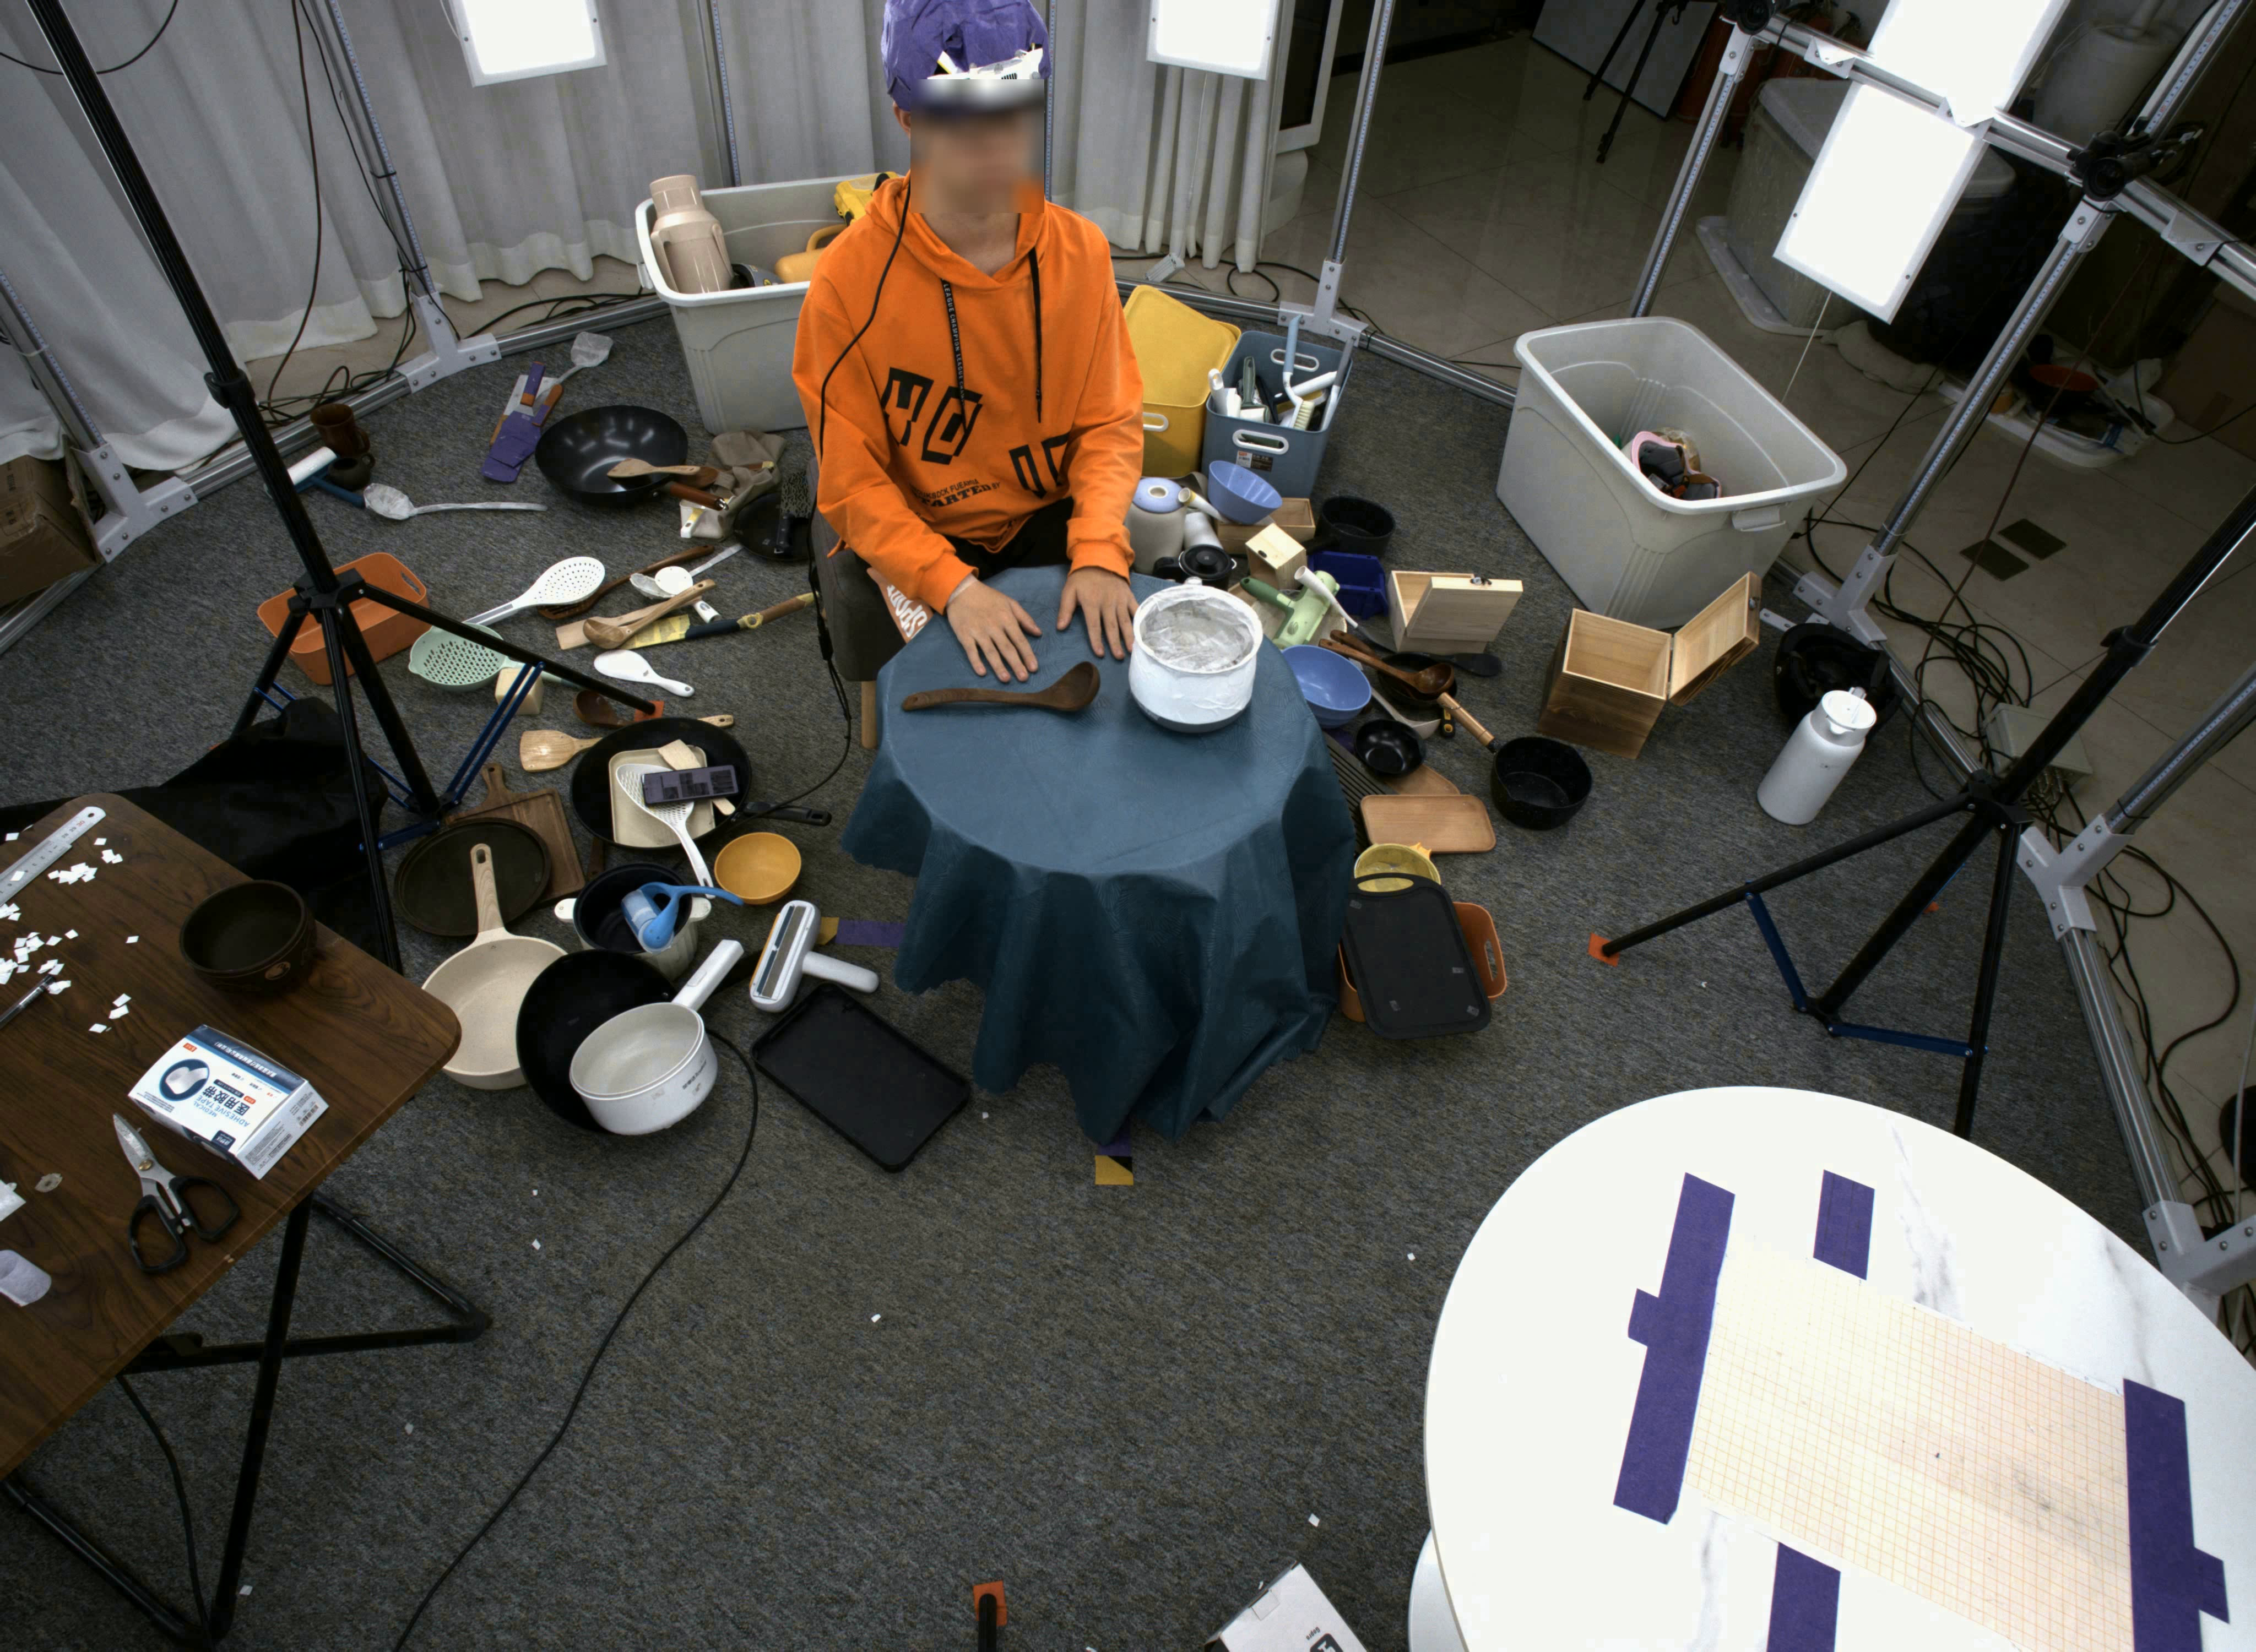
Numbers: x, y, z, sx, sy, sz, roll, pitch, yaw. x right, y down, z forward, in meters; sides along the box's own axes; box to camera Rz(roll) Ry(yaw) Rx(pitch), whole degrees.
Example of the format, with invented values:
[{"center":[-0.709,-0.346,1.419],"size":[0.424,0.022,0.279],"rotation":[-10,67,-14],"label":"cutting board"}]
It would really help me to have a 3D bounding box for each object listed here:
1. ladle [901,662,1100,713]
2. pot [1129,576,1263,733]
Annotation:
[{"center":[-0.176,-0.192,1.778],"size":[0.274,0.069,0.078],"rotation":[-1,47,-5],"label":"ladle"},{"center":[0.090,-0.250,1.803],"size":[0.178,0.133,0.239],"rotation":[1,49,-4],"label":"pot"}]
